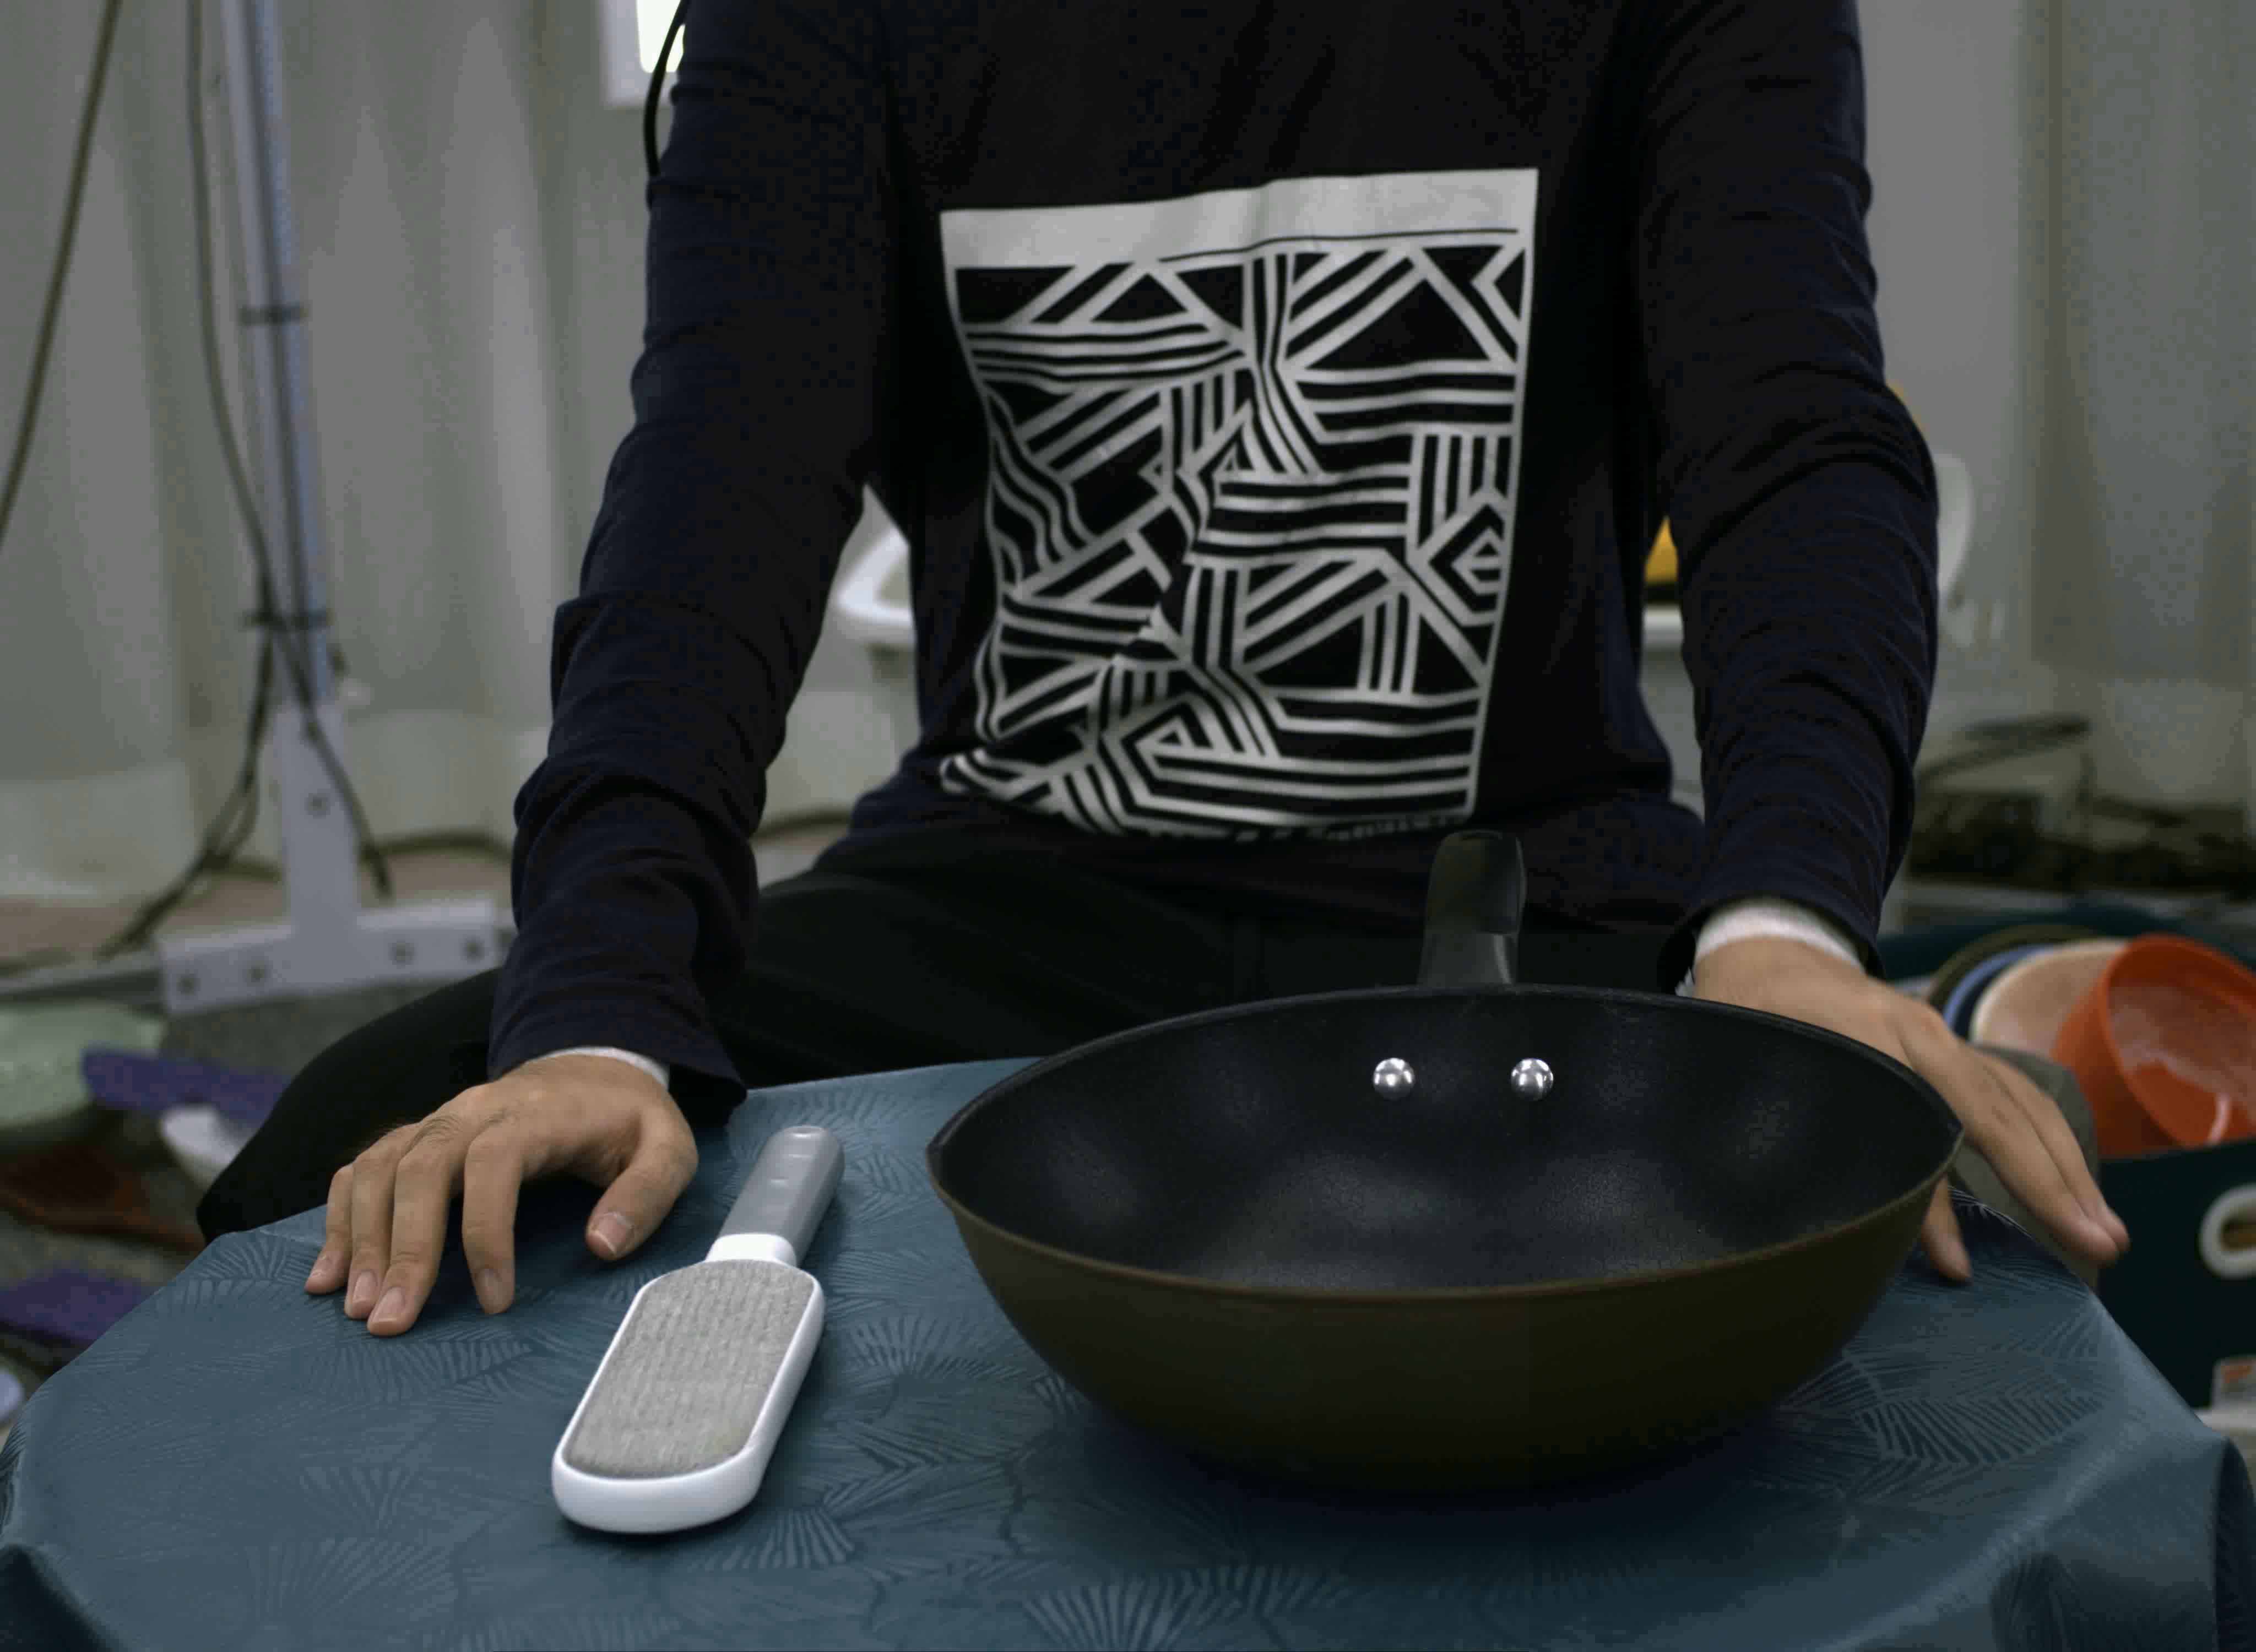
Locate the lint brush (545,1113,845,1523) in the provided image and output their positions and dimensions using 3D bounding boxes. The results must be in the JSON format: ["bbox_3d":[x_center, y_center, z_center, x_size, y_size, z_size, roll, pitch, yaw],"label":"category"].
[{"bbox_3d":[-0.115,0.139,1.593,0.060,0.021,0.311,-6,14,7],"label":"lint brush"}]

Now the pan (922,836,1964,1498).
[{"bbox_3d":[0.096,0.097,1.605,0.287,0.086,0.466,-1,14,7],"label":"pan"}]
